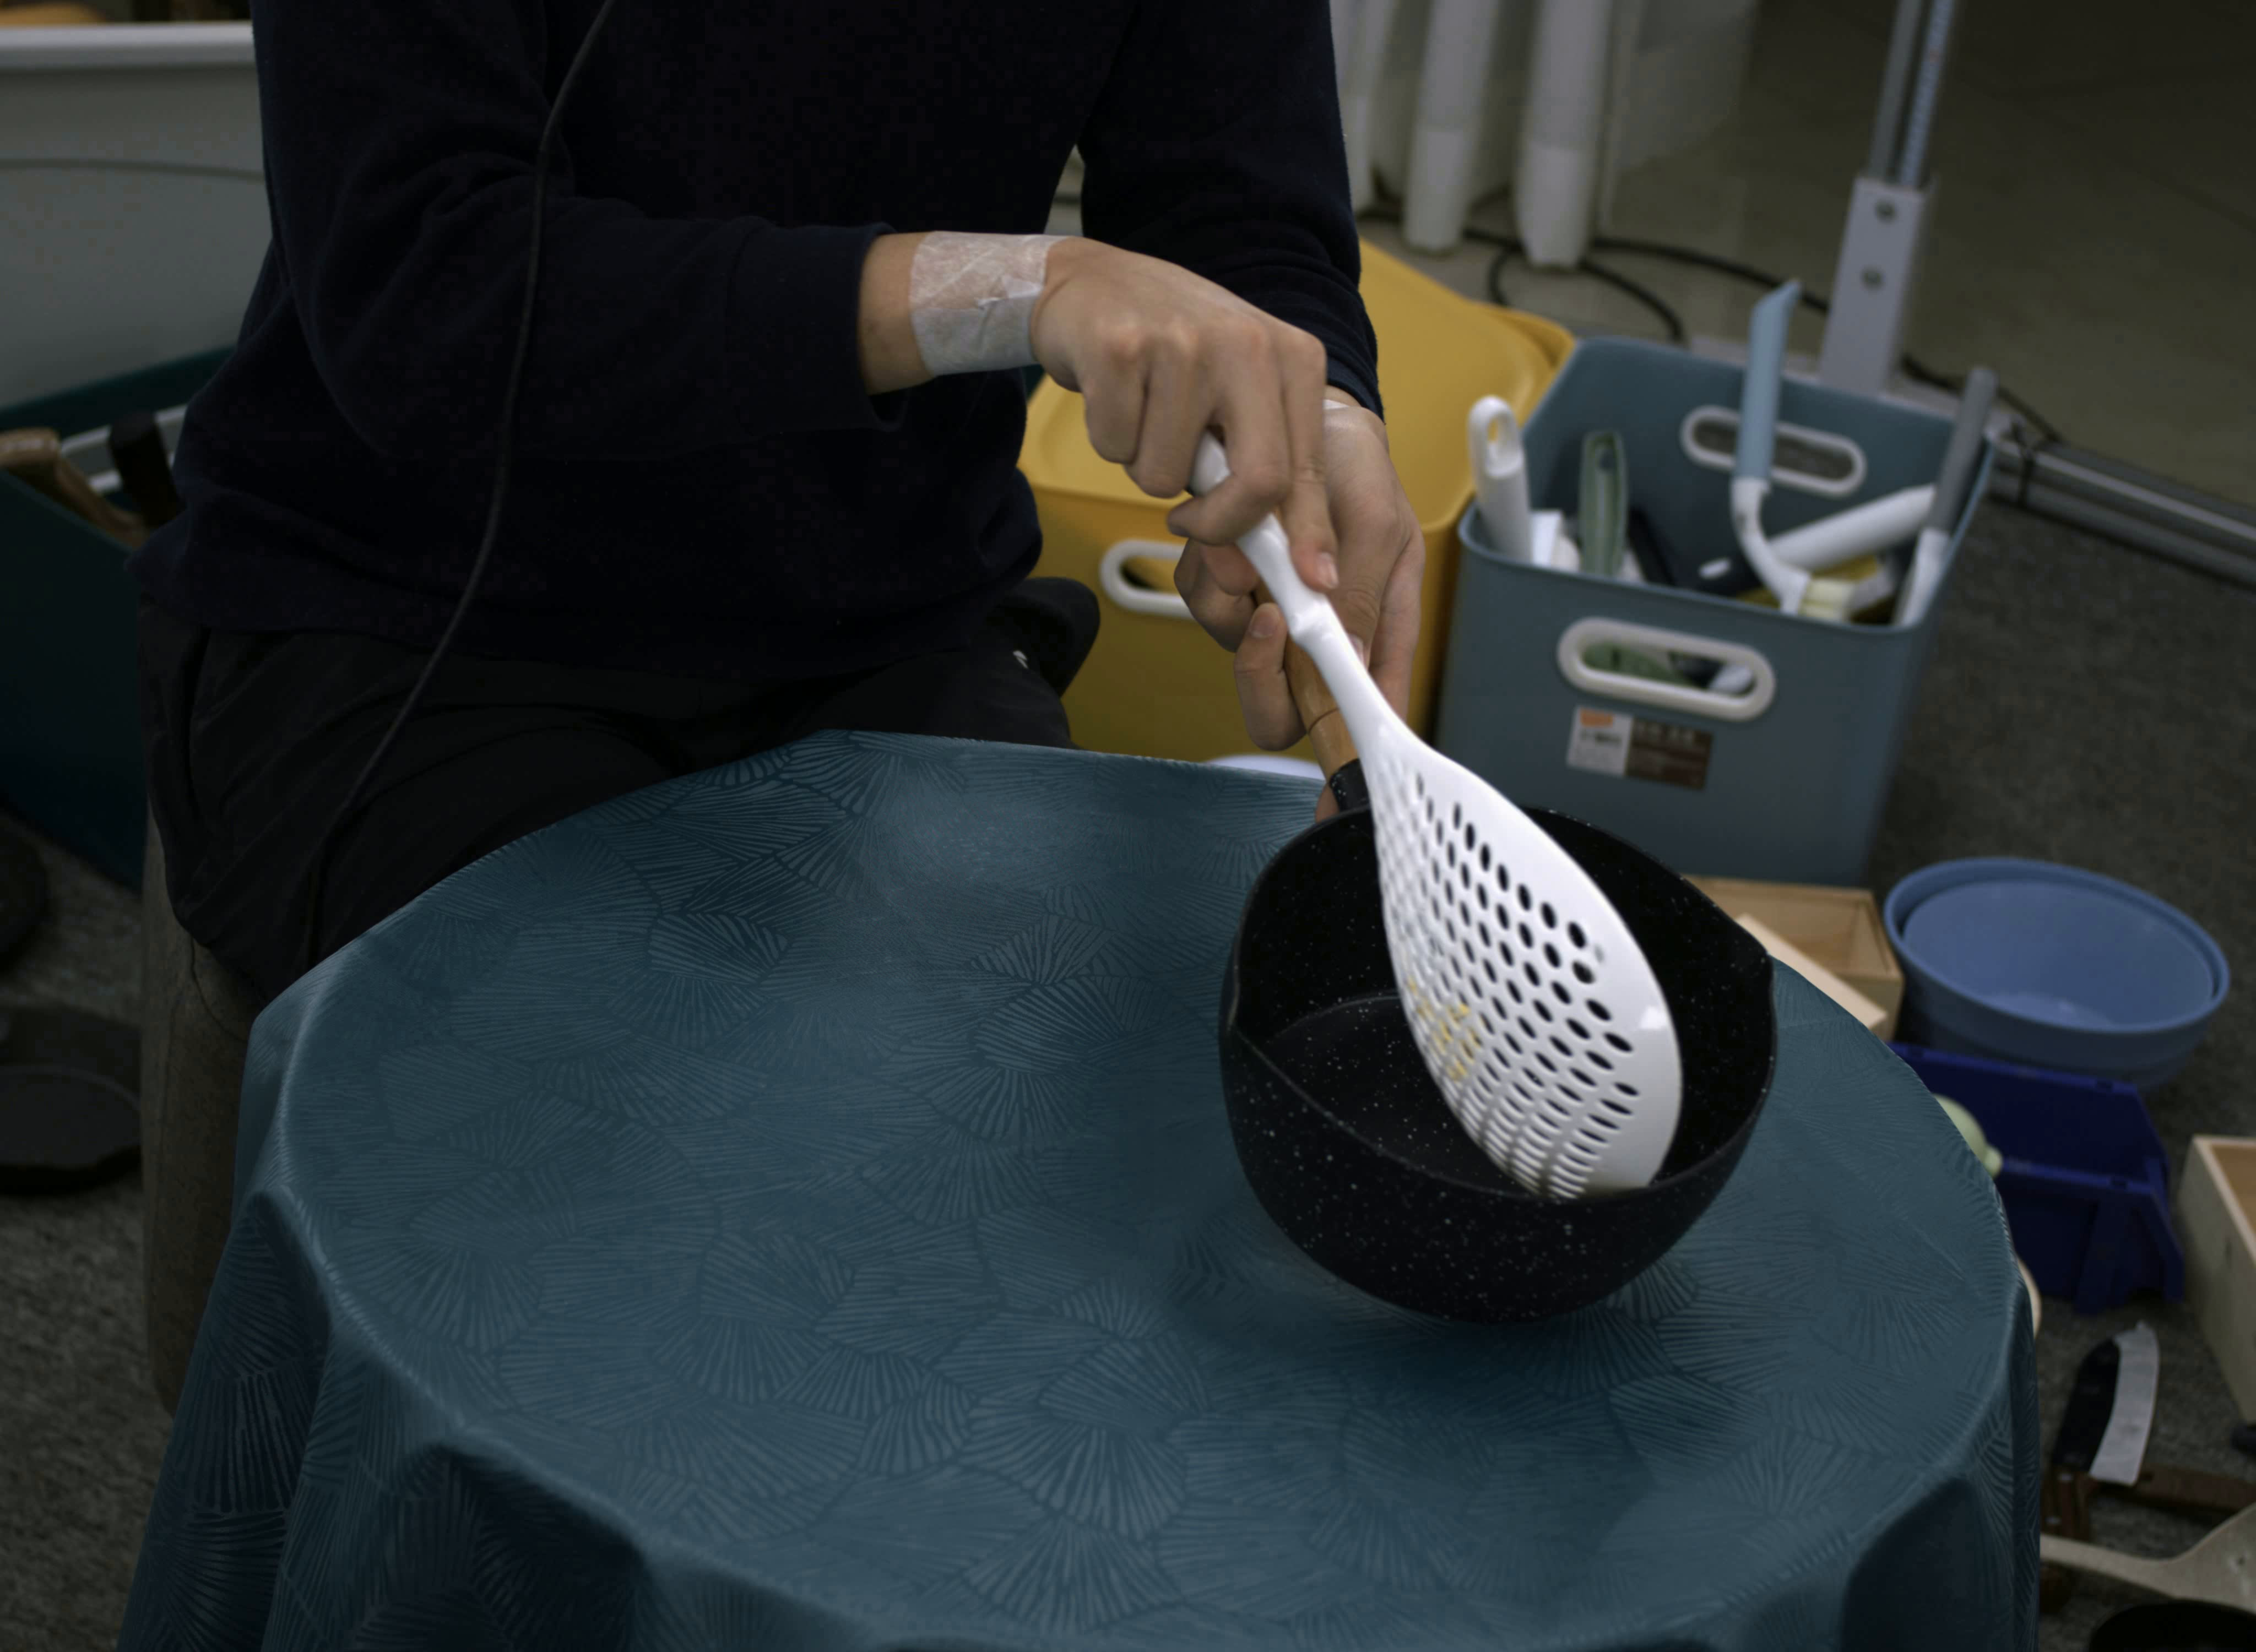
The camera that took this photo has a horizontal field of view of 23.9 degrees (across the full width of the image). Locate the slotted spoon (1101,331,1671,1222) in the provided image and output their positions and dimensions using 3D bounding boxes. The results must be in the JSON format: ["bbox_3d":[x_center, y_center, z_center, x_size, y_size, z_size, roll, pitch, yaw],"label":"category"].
[{"bbox_3d":[0.076,-0.023,1.753,0.050,0.136,0.351,-13,62,-23],"label":"slotted spoon"}]

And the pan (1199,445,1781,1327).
[{"bbox_3d":[0.090,0.020,1.818,0.206,0.108,0.346,-9,49,-21],"label":"pan"}]
